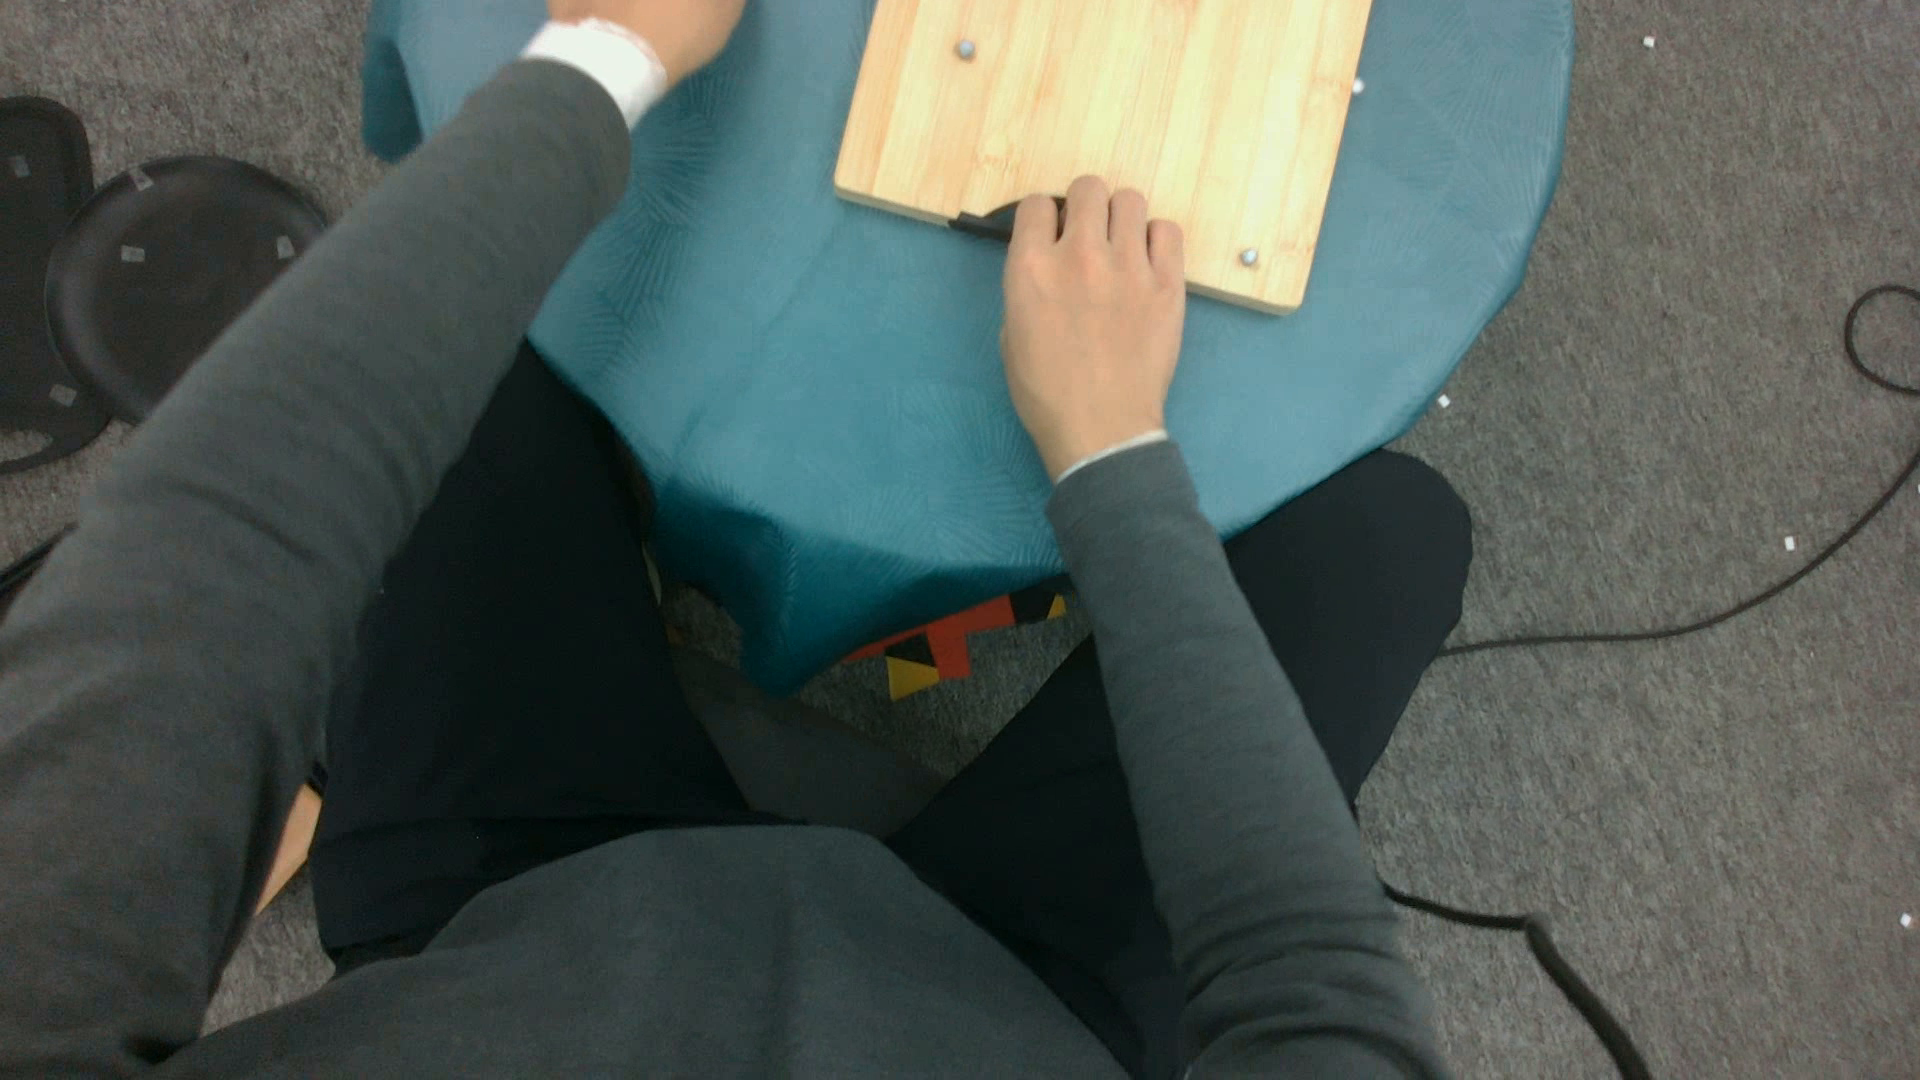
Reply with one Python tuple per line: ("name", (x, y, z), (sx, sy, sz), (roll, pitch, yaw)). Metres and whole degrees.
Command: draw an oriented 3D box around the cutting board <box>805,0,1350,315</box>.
("cutting board", (0.082, -0.309, 0.700), (0.251, 0.023, 0.349), (13, 85, -5))
